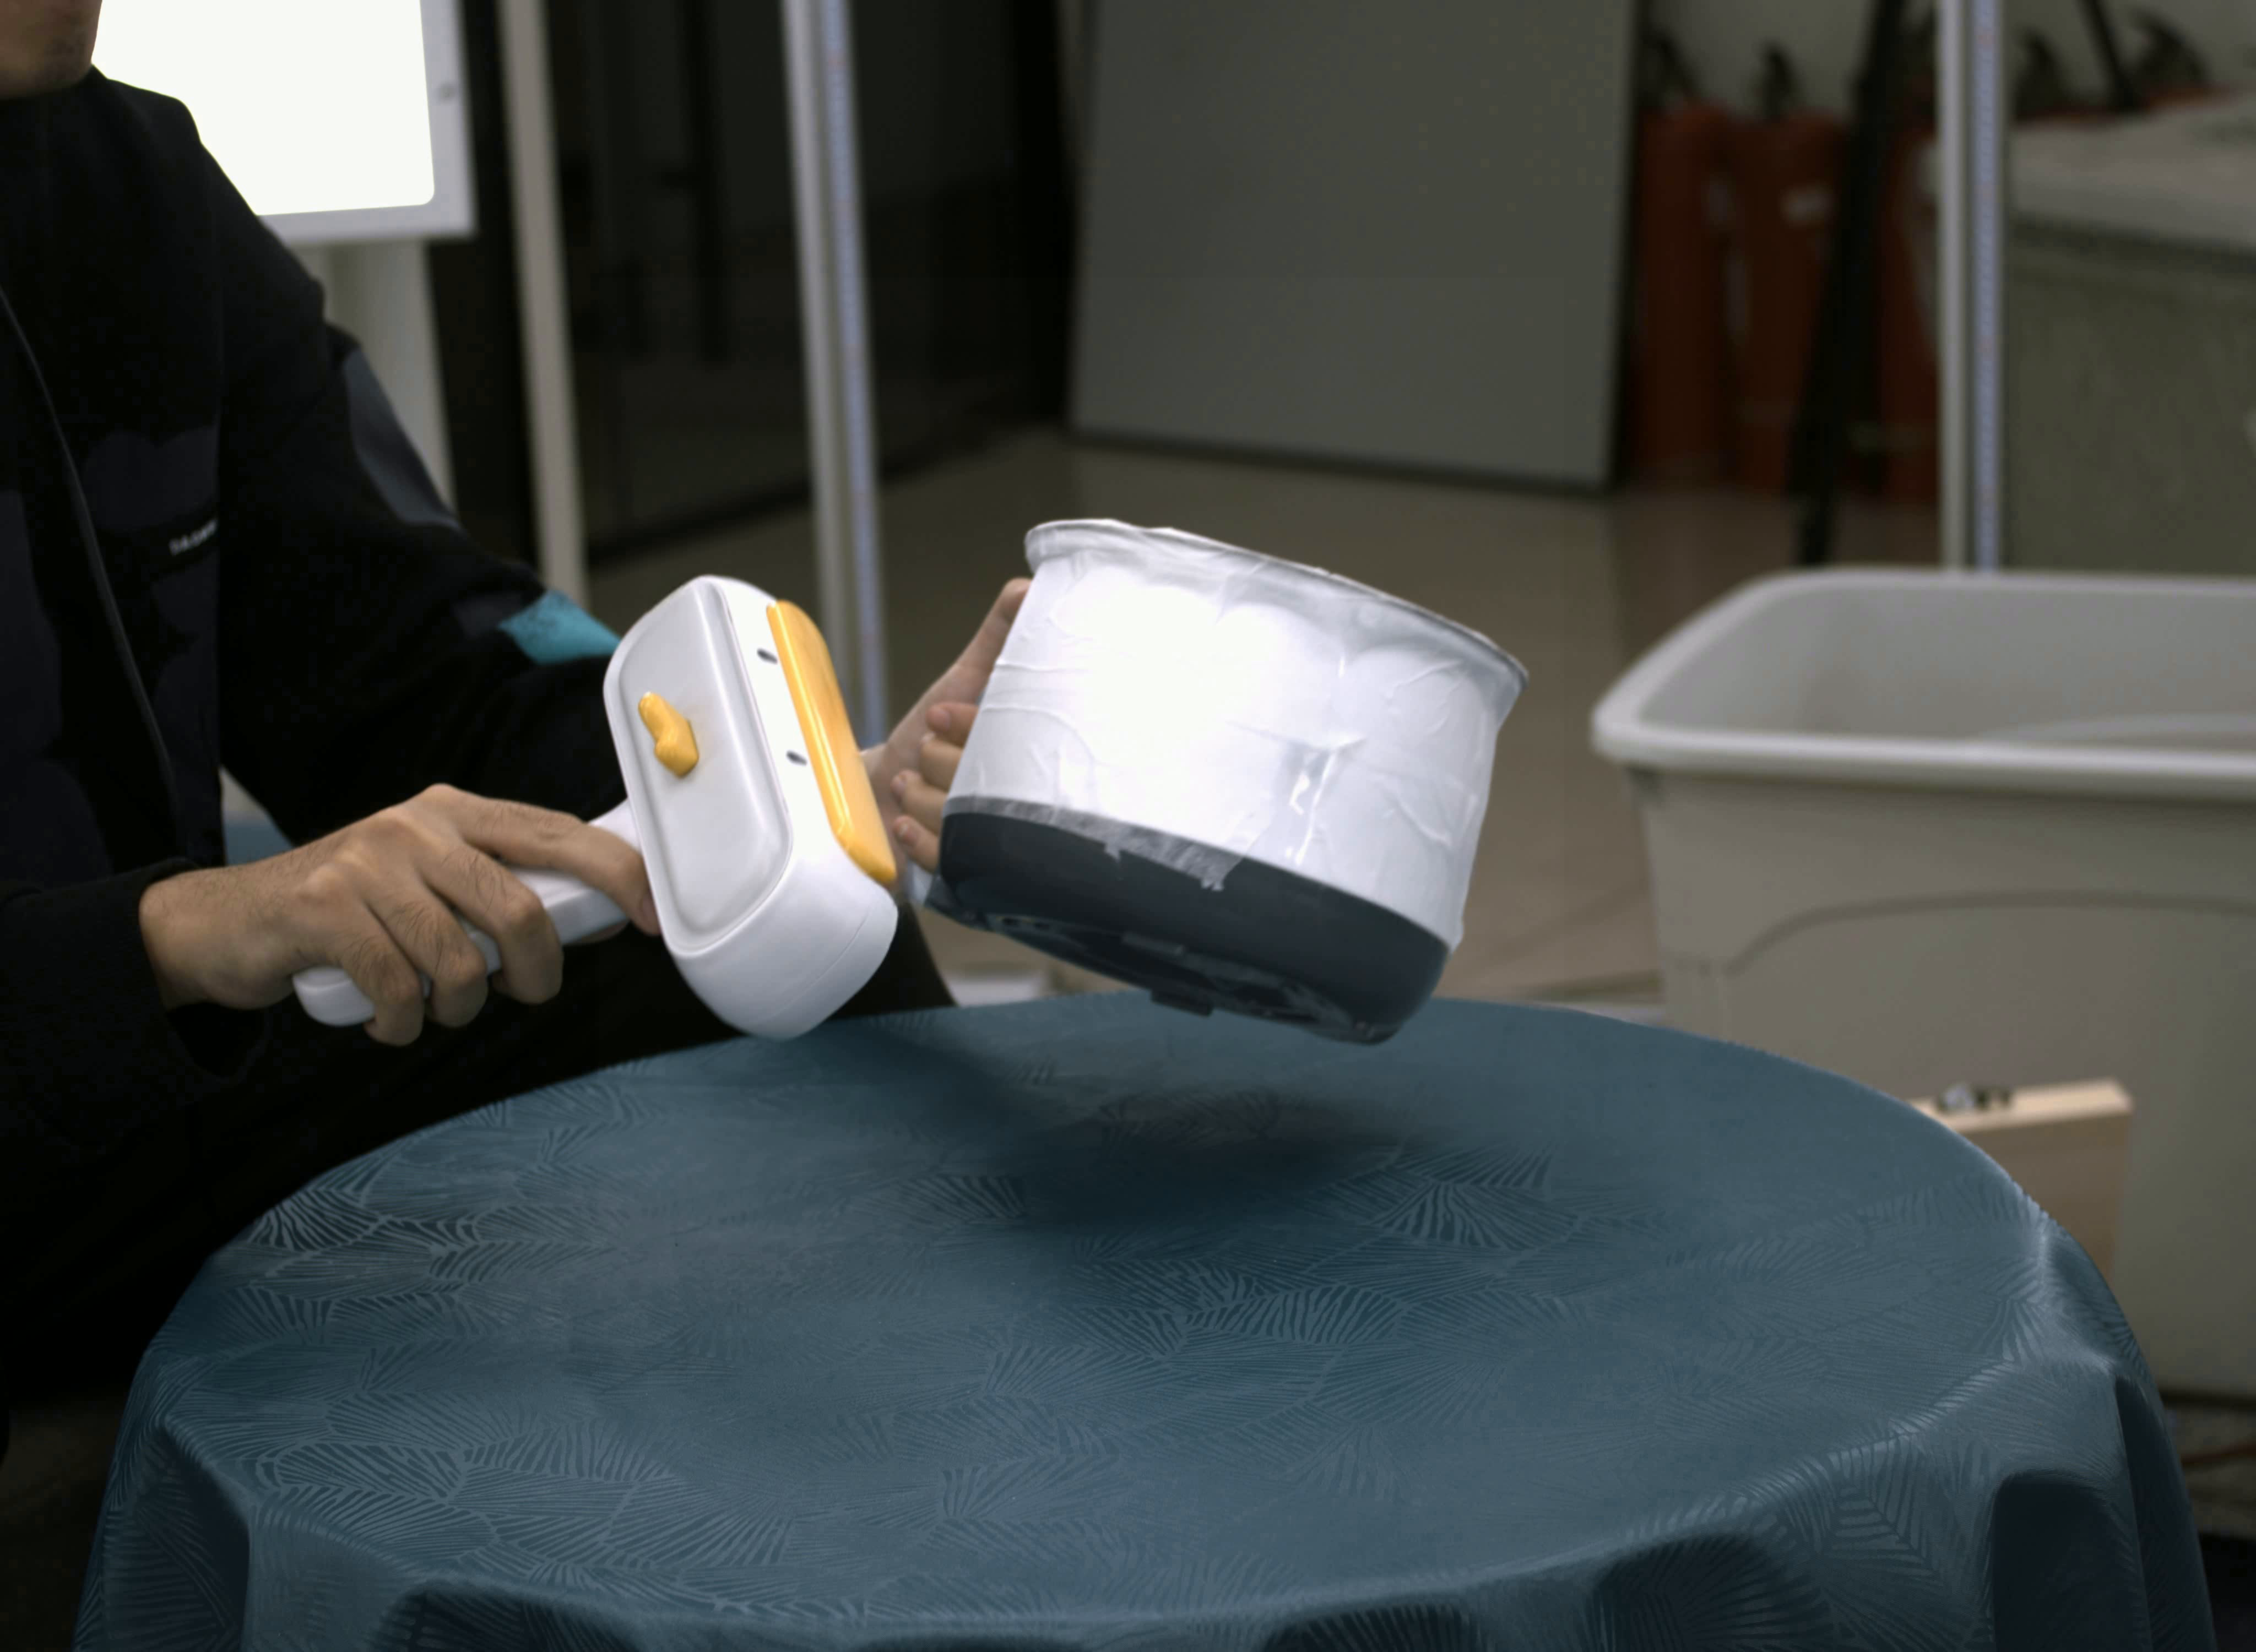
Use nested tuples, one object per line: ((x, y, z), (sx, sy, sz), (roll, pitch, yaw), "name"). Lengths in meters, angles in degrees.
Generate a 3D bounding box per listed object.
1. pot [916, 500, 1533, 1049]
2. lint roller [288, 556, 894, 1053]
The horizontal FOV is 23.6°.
((0.016, -0.017, 1.821), (0.175, 0.138, 0.236), (26, -12, -37), "pot")
((-0.172, 0.016, 1.695), (0.192, 0.073, 0.195), (-35, 40, 7), "lint roller")
